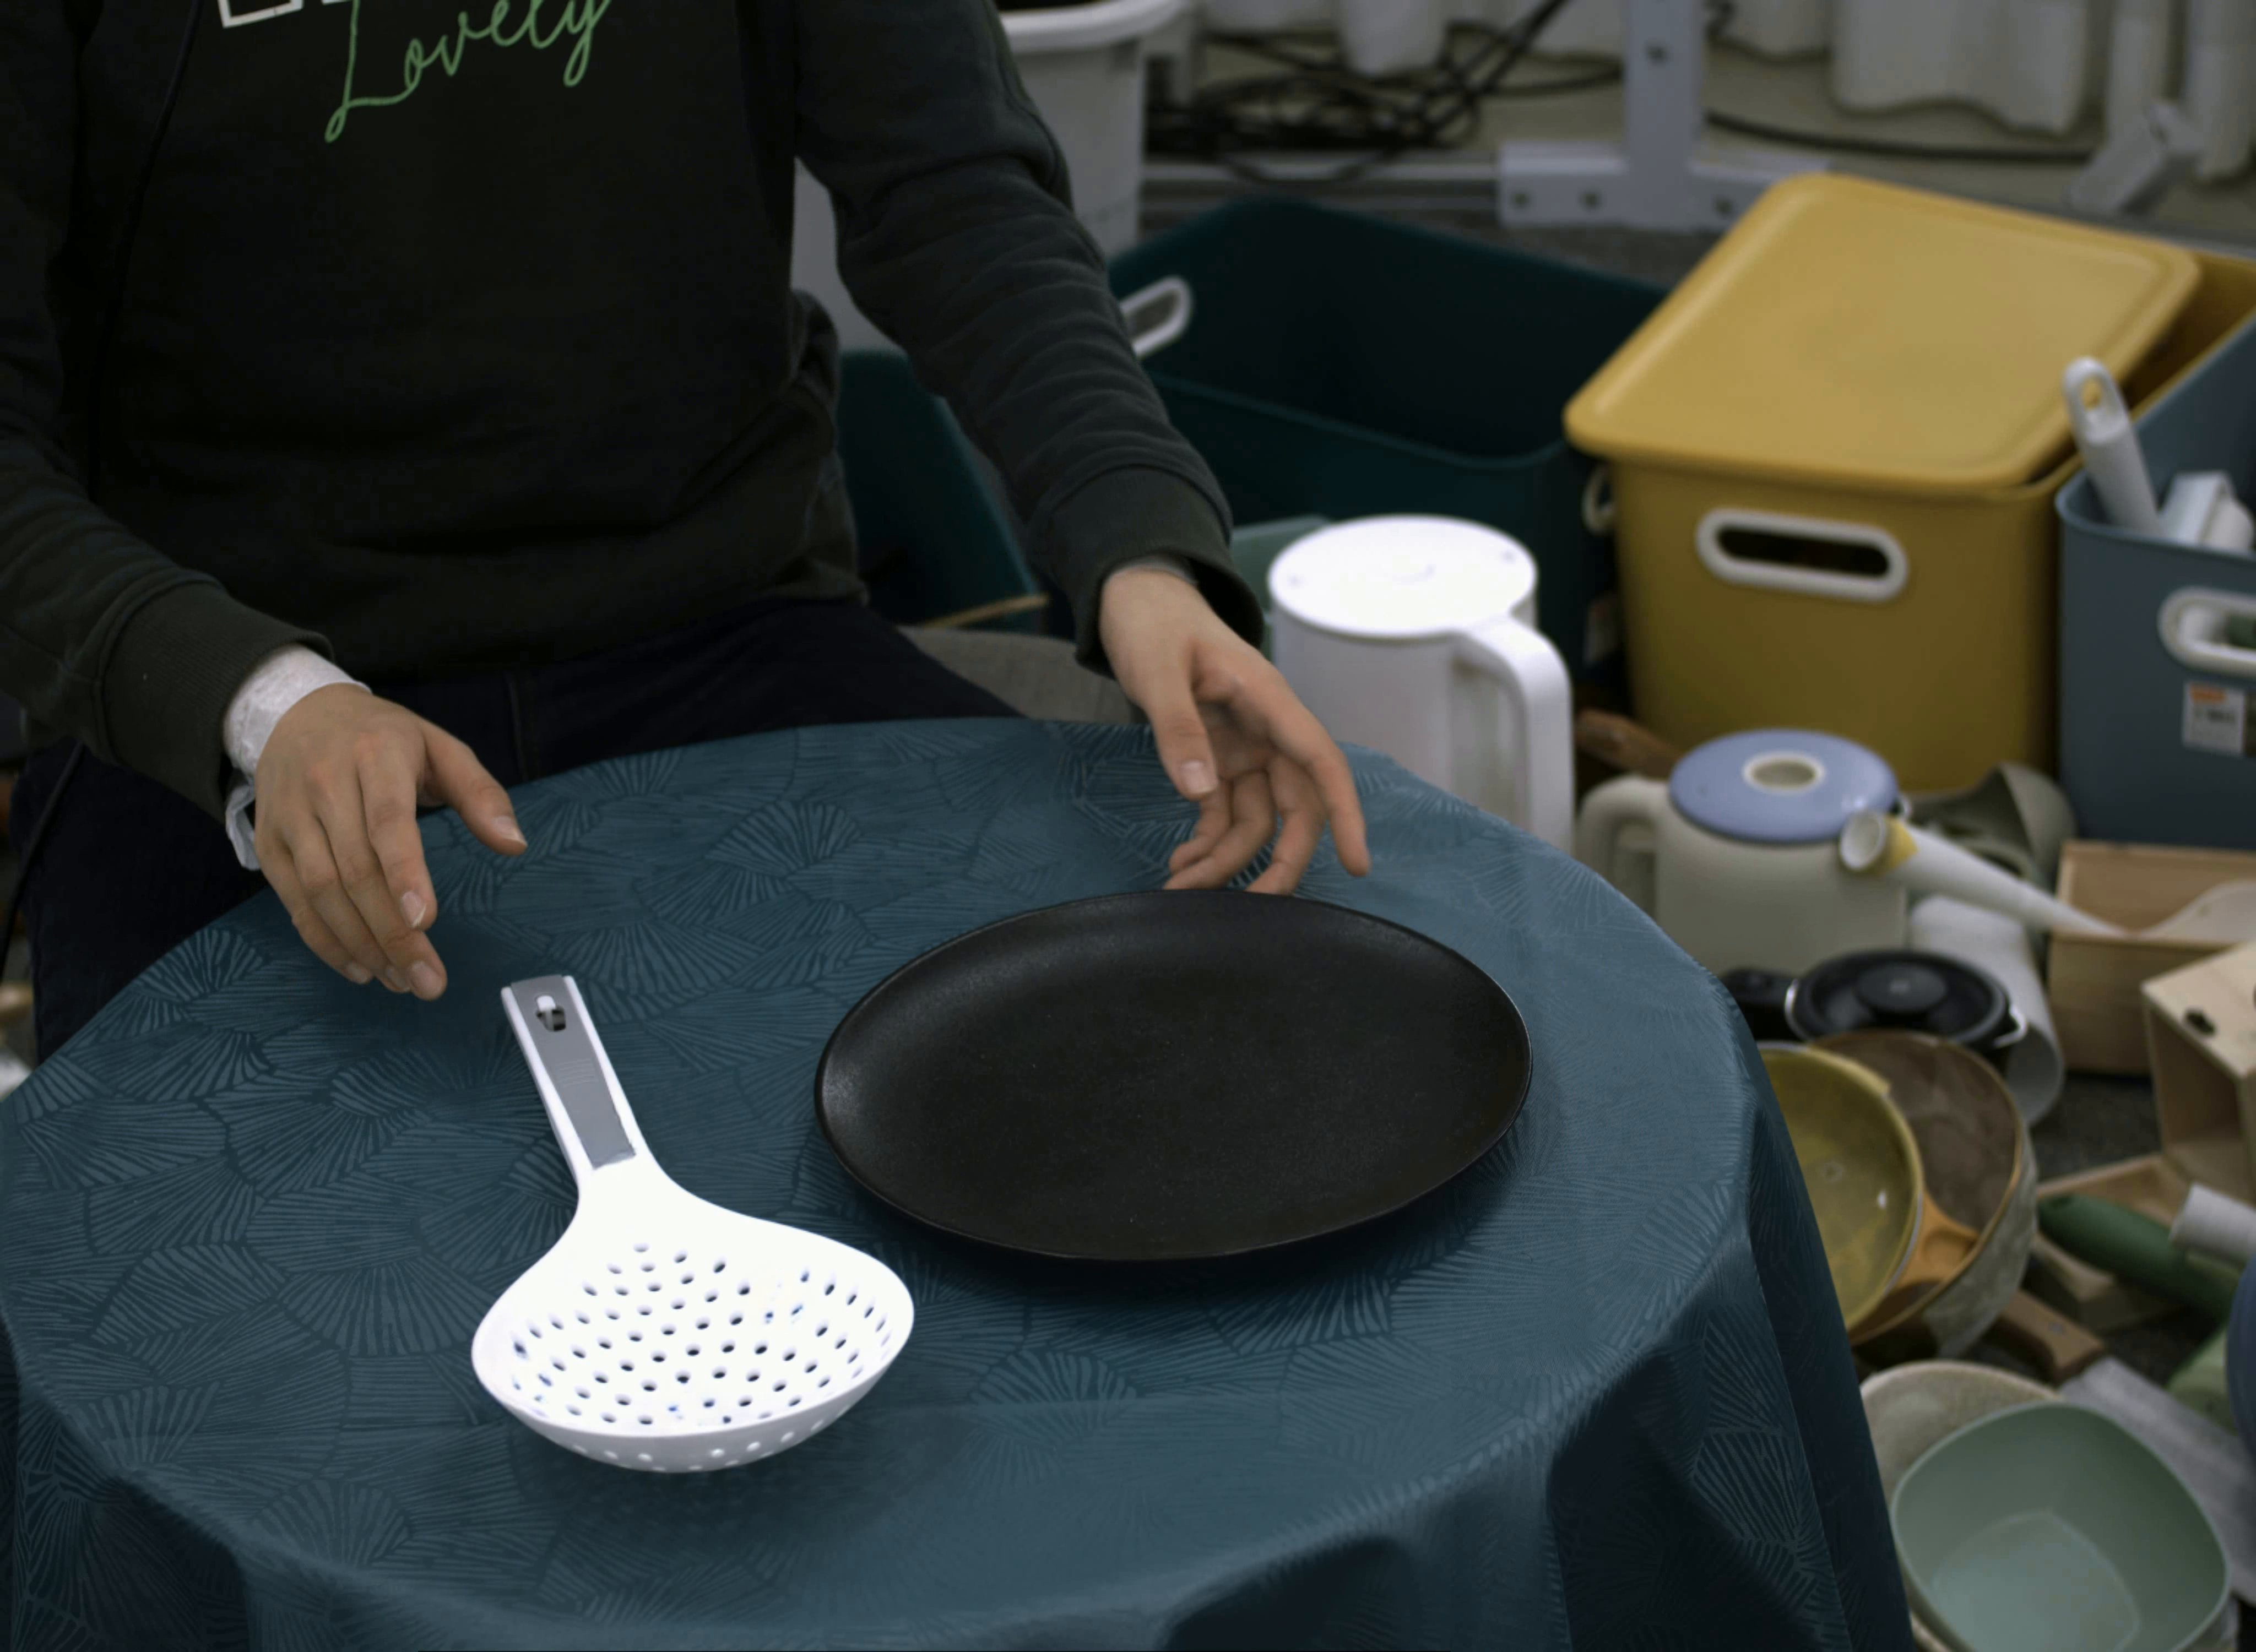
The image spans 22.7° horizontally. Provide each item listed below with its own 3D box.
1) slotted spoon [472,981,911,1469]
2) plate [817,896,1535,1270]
[{"bbox_3d":[-0.162,0.123,1.825,0.136,0.045,0.353,-8,27,-13],"label":"slotted spoon"},{"bbox_3d":[0.016,0.090,1.896,0.243,0.023,0.248,-2,27,2],"label":"plate"}]
